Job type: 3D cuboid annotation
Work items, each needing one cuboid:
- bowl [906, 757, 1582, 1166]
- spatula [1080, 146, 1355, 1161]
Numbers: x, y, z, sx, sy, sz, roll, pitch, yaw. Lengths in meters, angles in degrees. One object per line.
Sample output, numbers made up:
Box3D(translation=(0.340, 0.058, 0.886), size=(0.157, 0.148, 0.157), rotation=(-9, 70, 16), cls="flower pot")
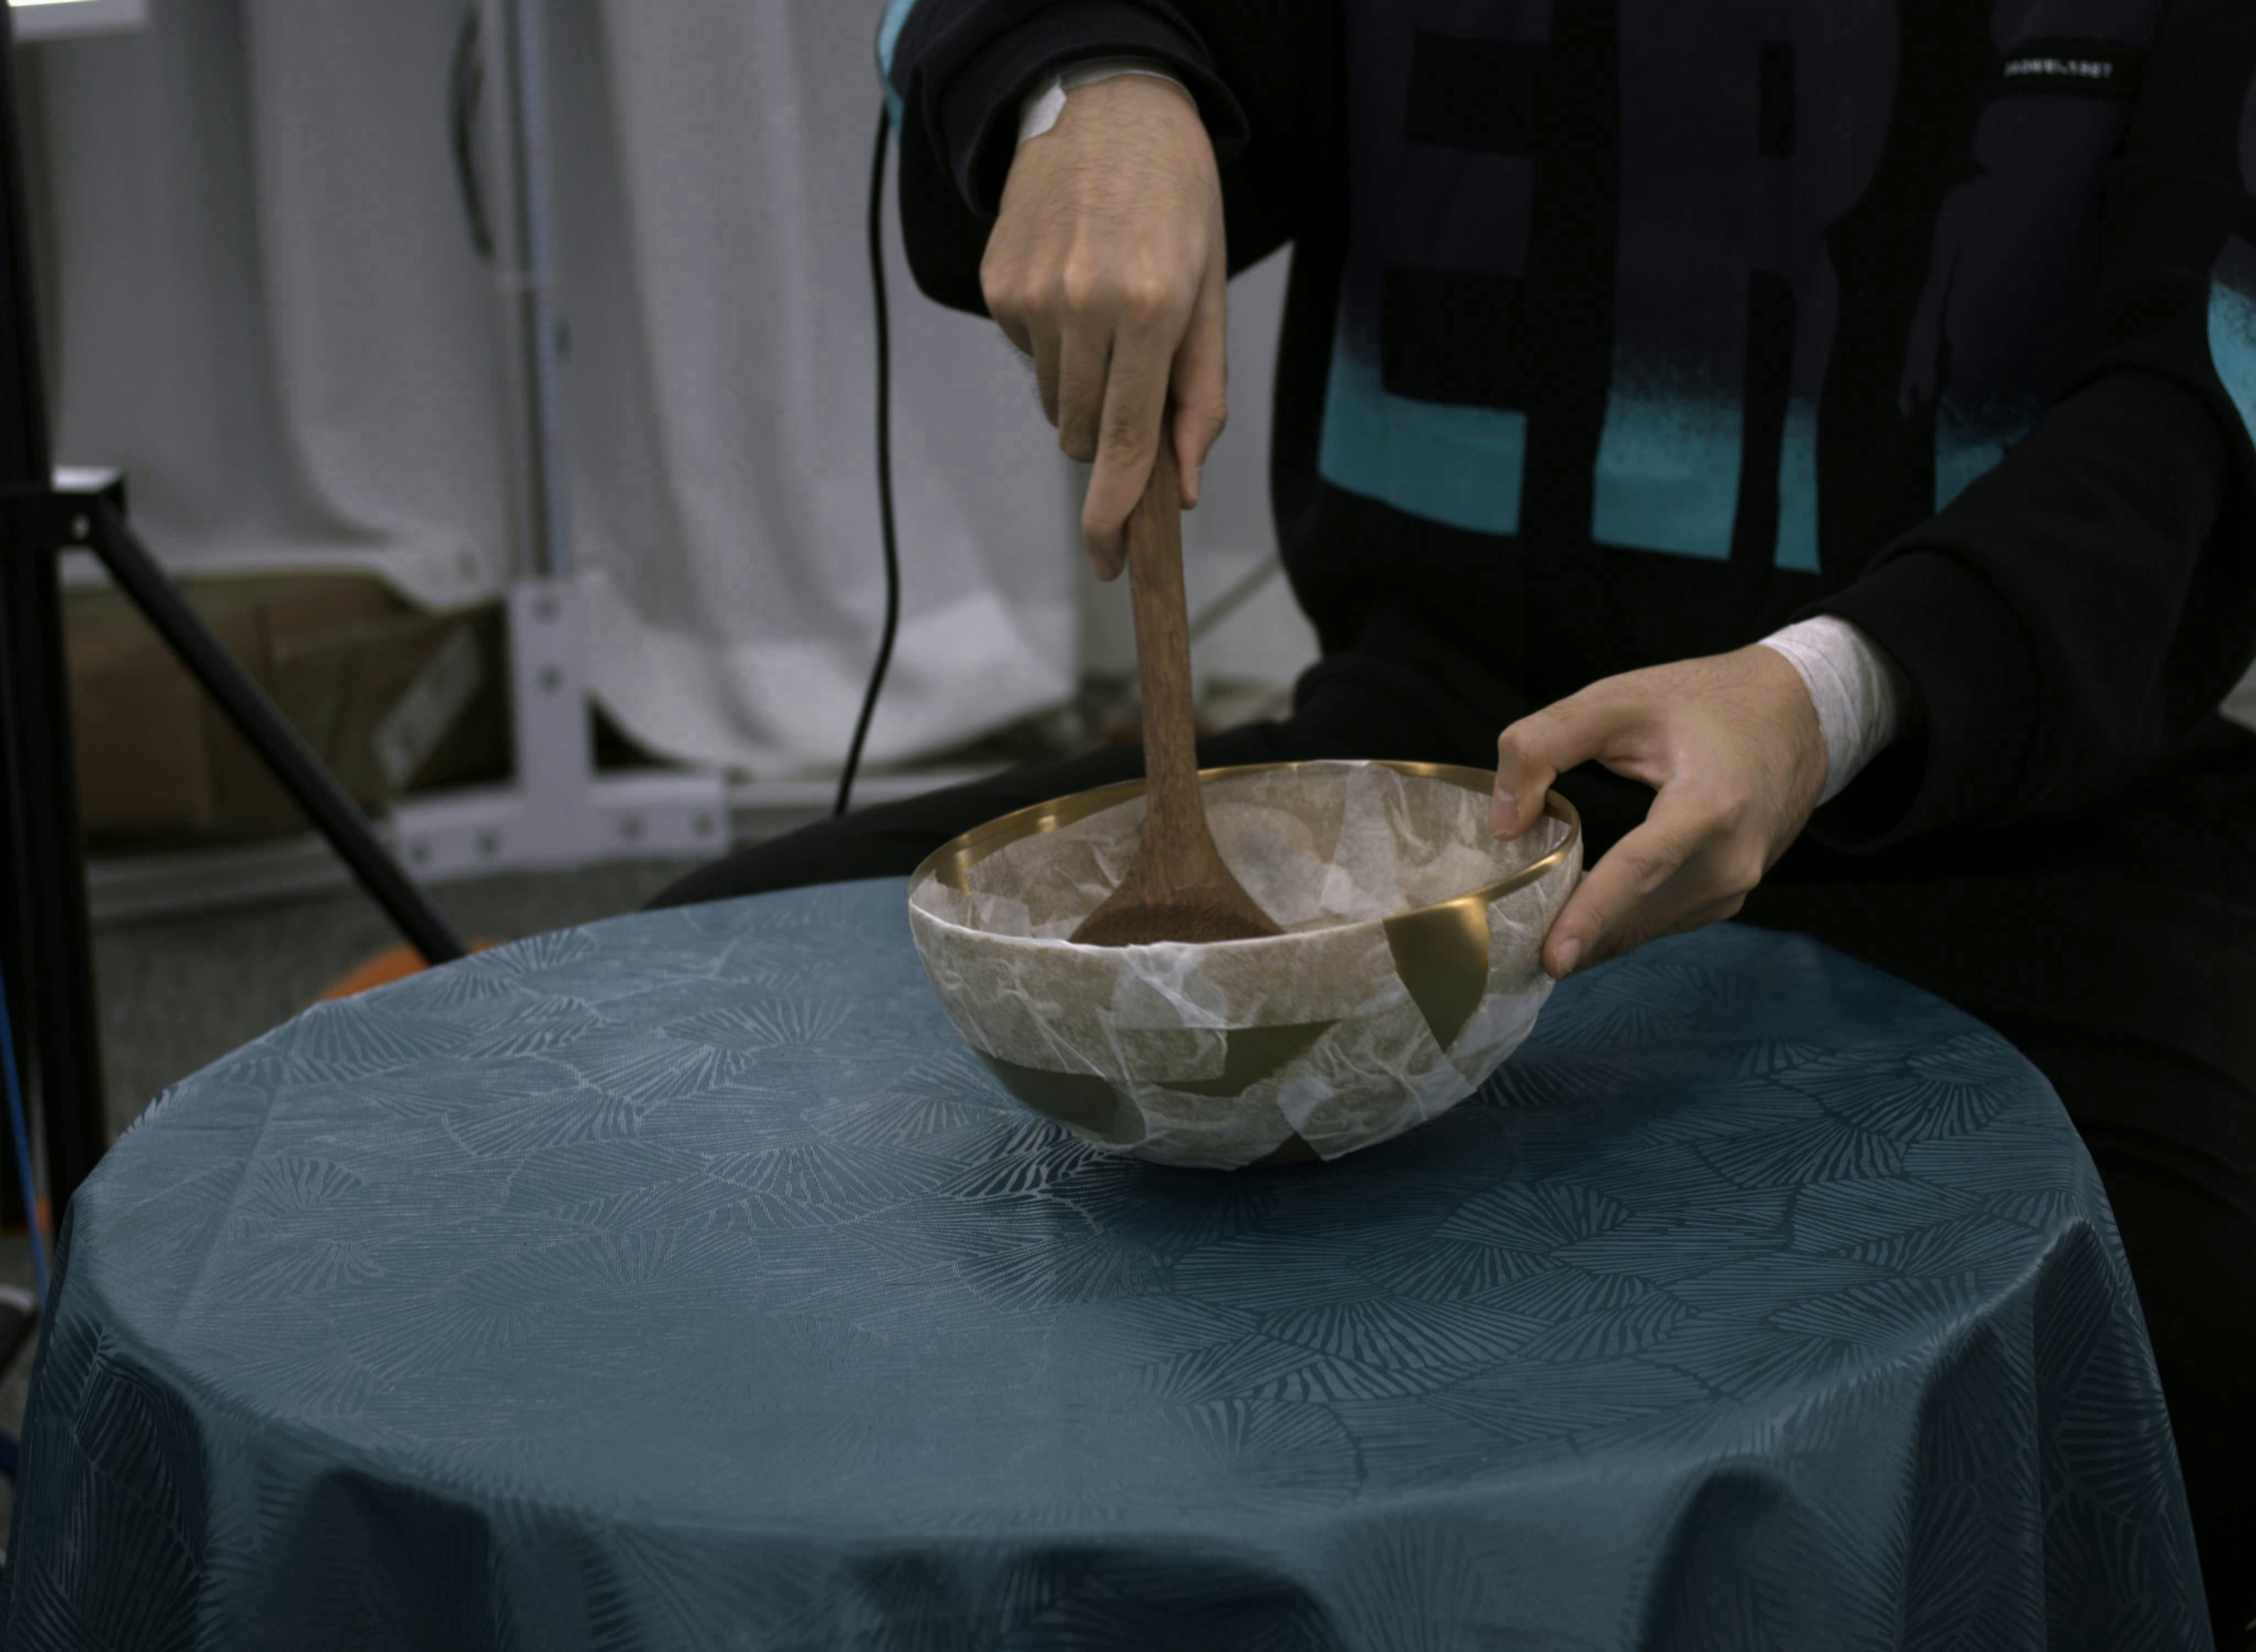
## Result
Box3D(translation=(0.041, 0.048, 1.586), size=(0.214, 0.094, 0.215), rotation=(-7, 12, 0), cls="bowl")
Box3D(translation=(0.012, -0.064, 1.660), size=(0.095, 0.016, 0.391), rotation=(2, 56, -10), cls="spatula")
